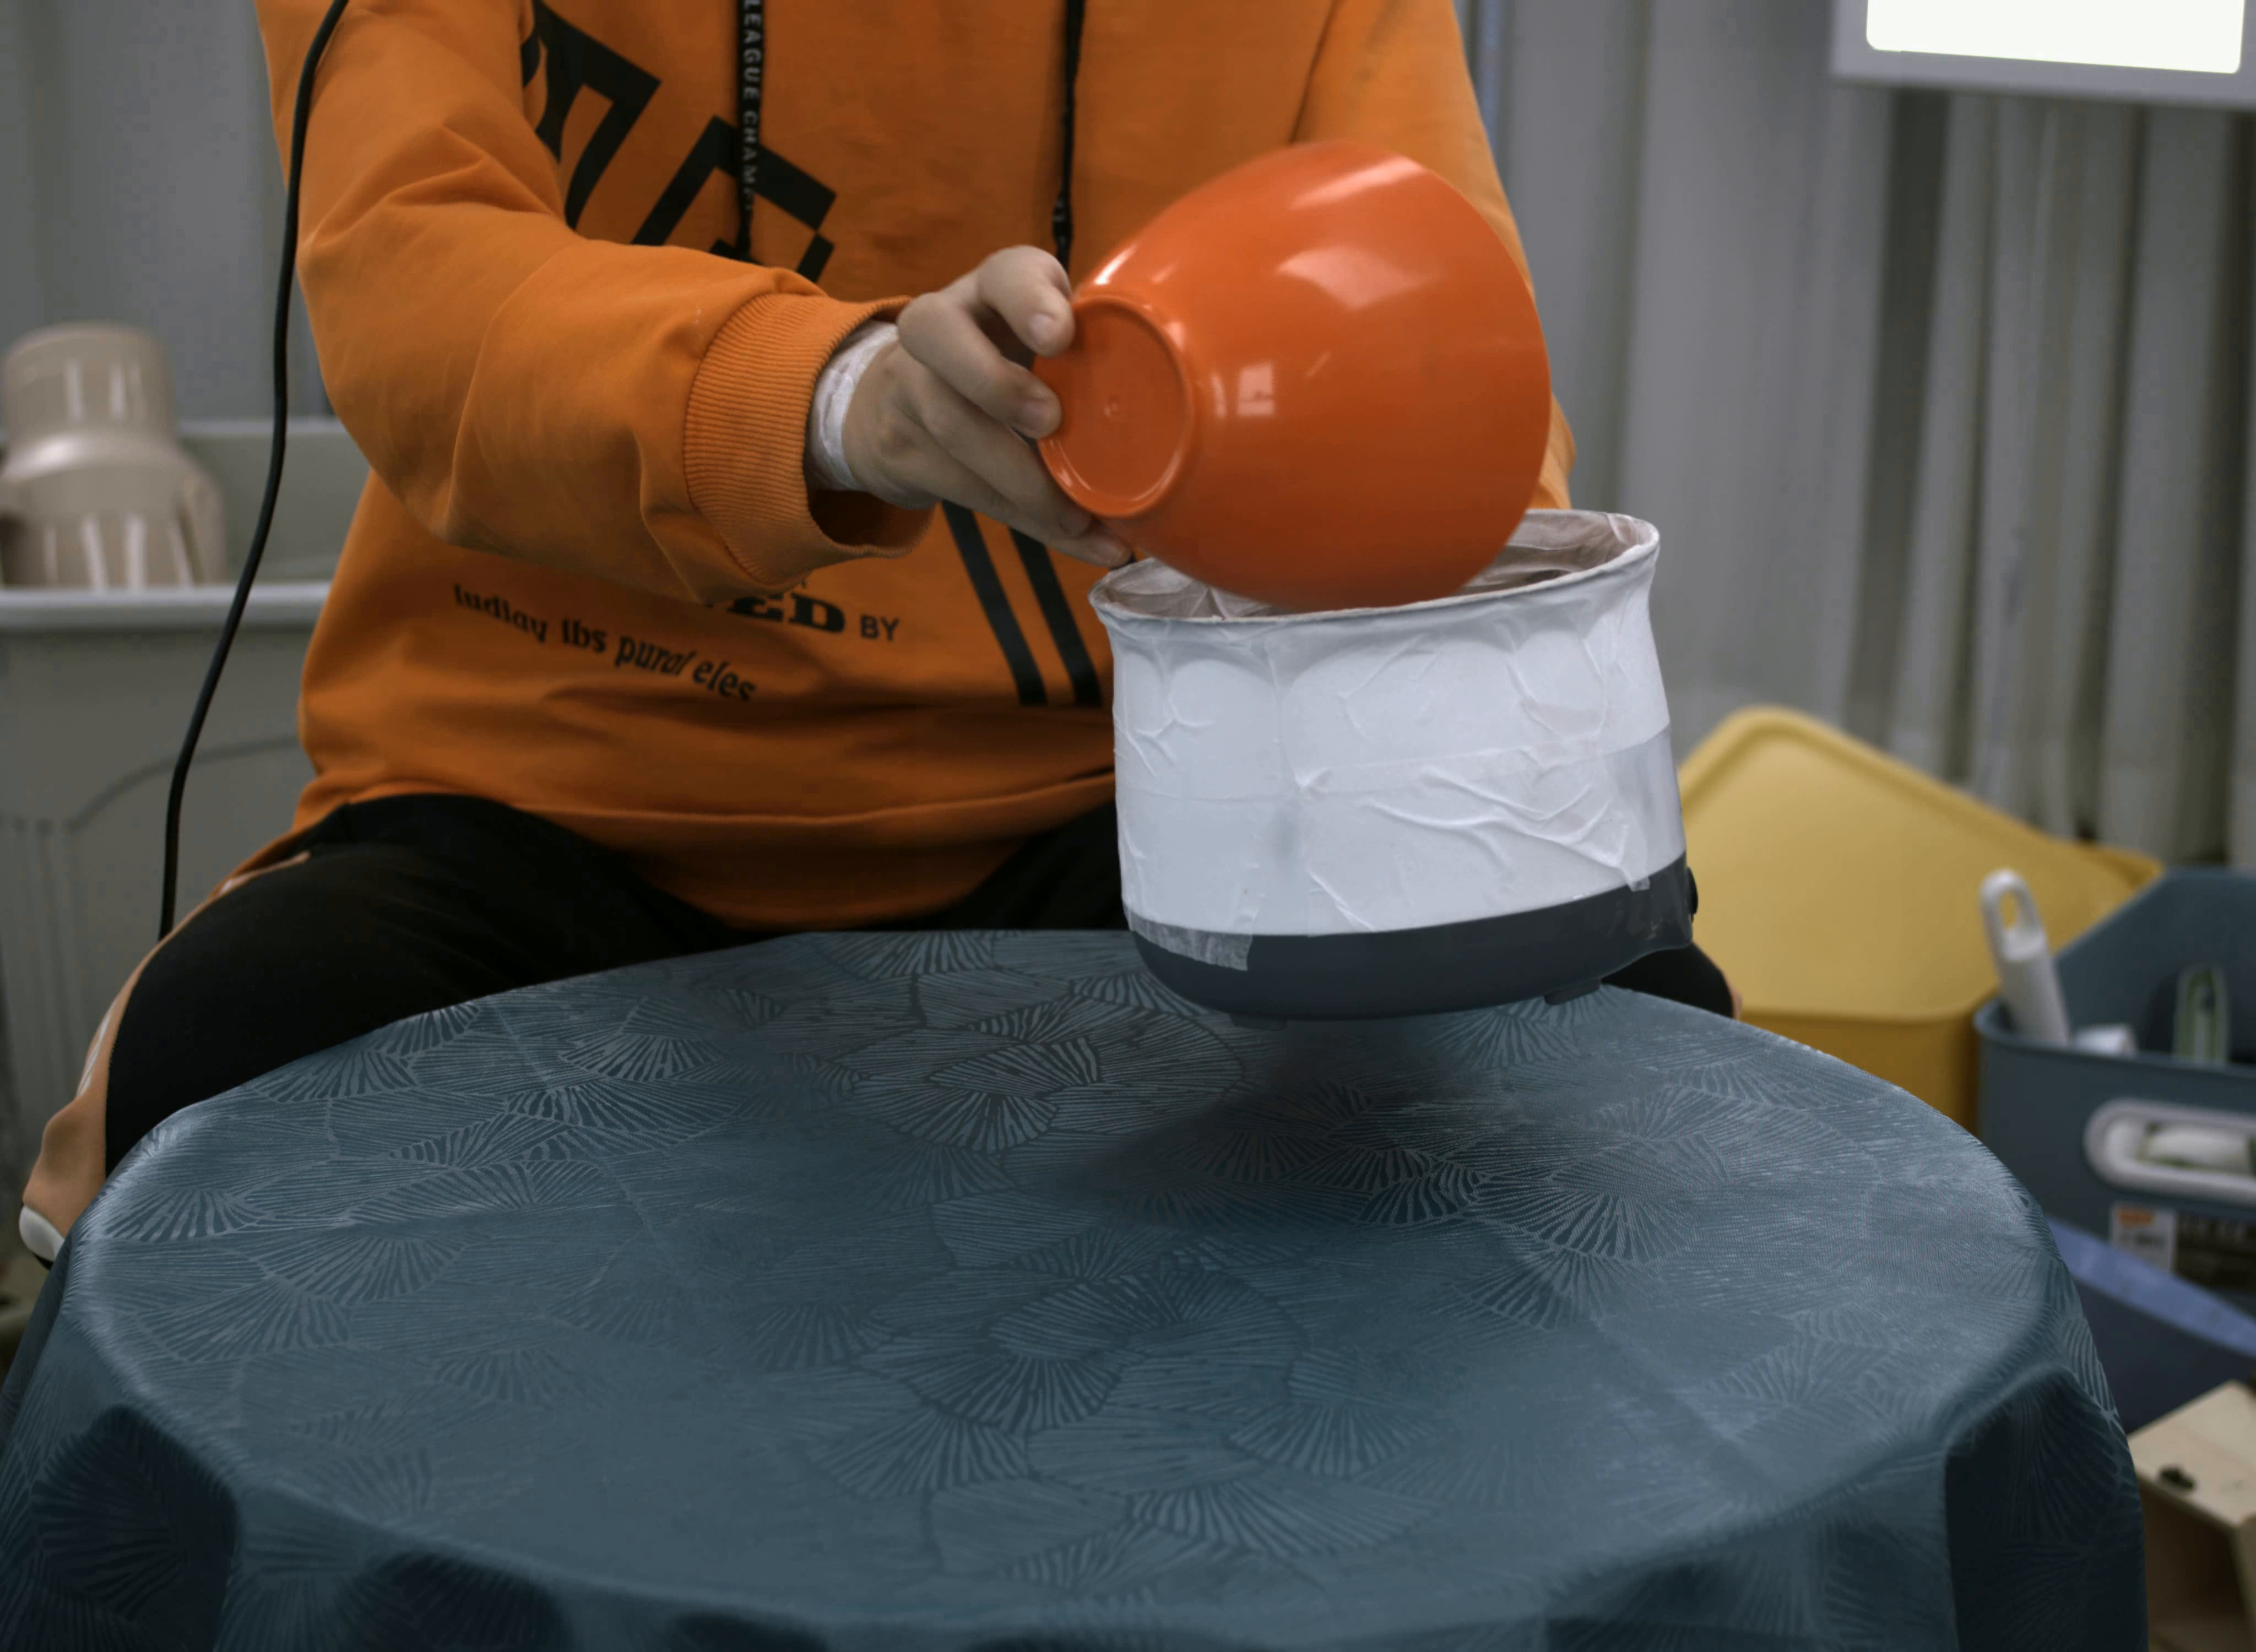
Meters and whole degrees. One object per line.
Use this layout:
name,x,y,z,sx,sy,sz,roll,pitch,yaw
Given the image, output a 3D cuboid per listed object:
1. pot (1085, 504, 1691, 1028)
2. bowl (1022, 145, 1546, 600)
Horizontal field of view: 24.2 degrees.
pot,0.081,-0.026,1.653,0.178,0.137,0.232,-5,12,1
bowl,0.035,-0.129,1.577,0.146,0.149,0.105,14,17,39
